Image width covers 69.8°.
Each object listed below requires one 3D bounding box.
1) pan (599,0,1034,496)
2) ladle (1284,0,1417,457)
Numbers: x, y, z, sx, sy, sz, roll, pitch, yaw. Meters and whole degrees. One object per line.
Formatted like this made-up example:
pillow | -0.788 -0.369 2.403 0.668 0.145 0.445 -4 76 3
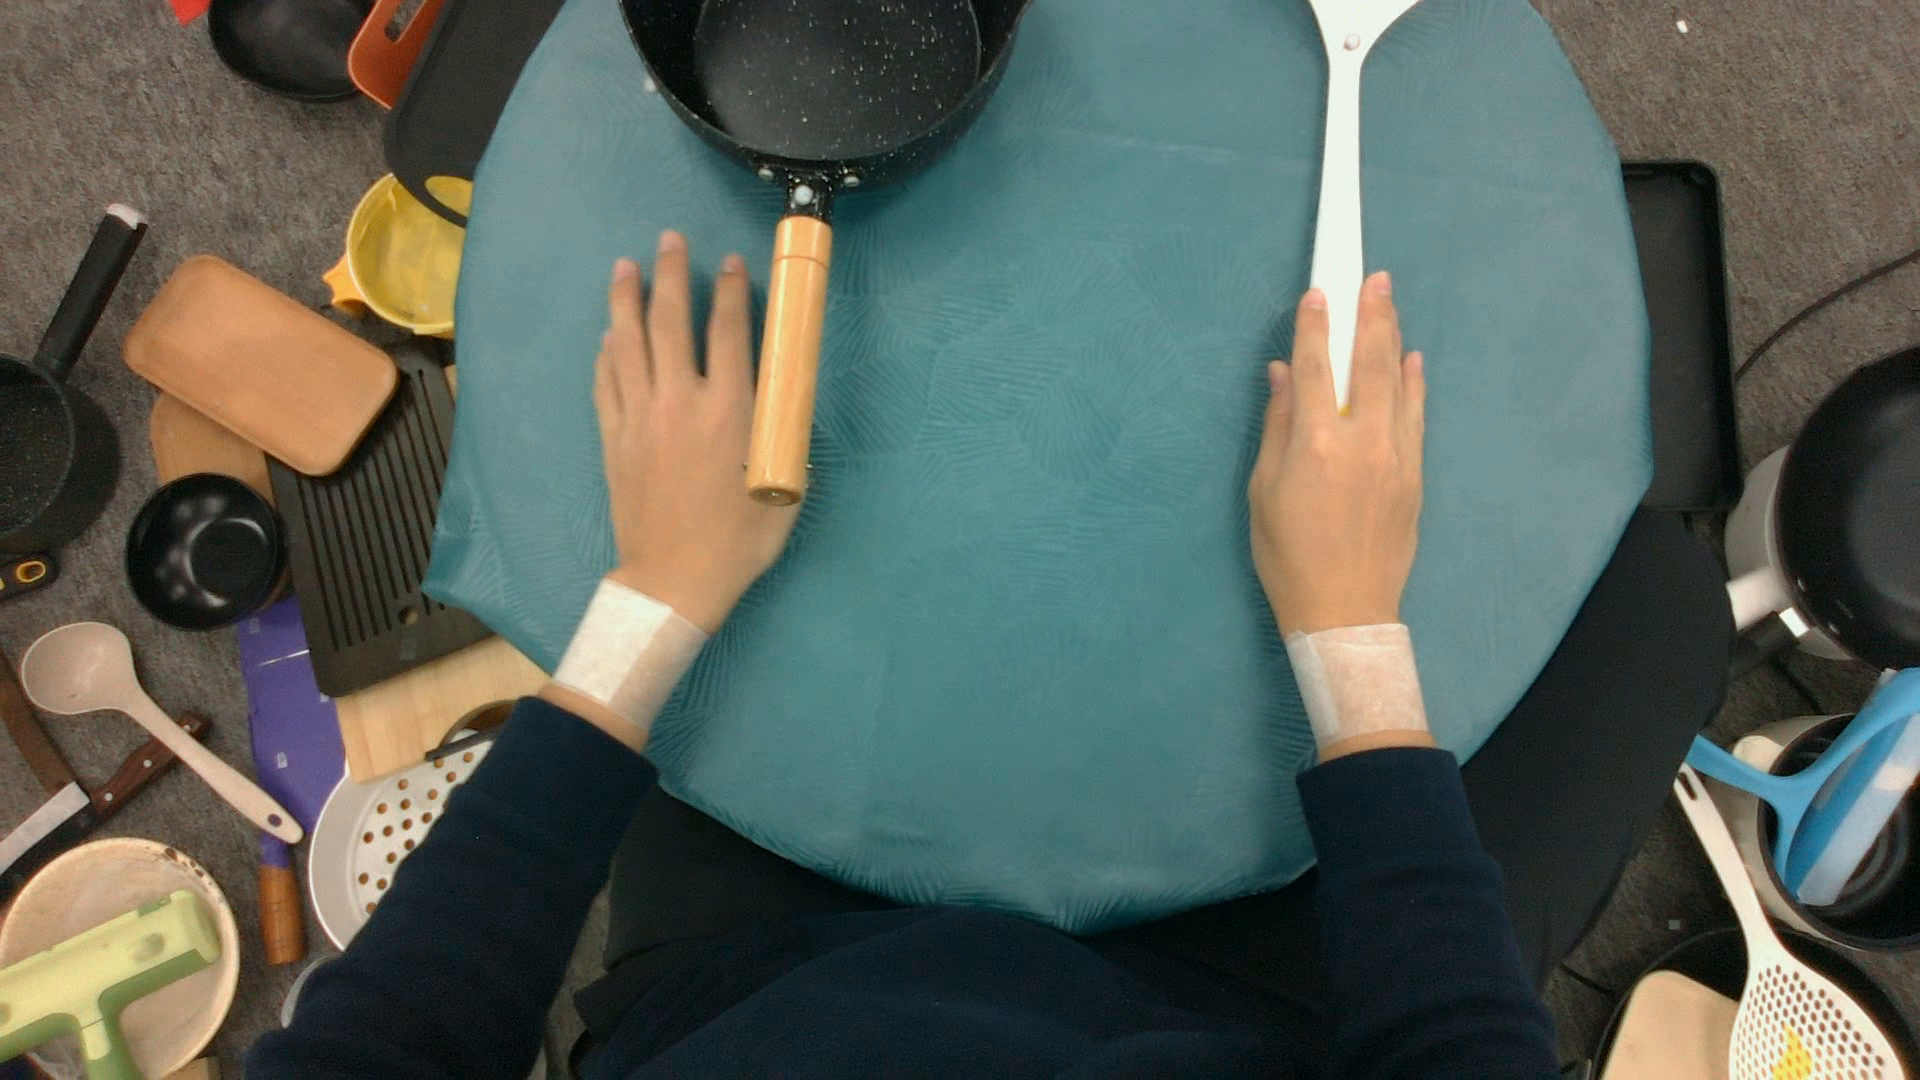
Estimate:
pan | -0.073 -0.183 0.649 0.207 0.108 0.343 3 82 -1
ladle | 0.196 -0.189 0.674 0.090 0.070 0.293 8 84 -15
